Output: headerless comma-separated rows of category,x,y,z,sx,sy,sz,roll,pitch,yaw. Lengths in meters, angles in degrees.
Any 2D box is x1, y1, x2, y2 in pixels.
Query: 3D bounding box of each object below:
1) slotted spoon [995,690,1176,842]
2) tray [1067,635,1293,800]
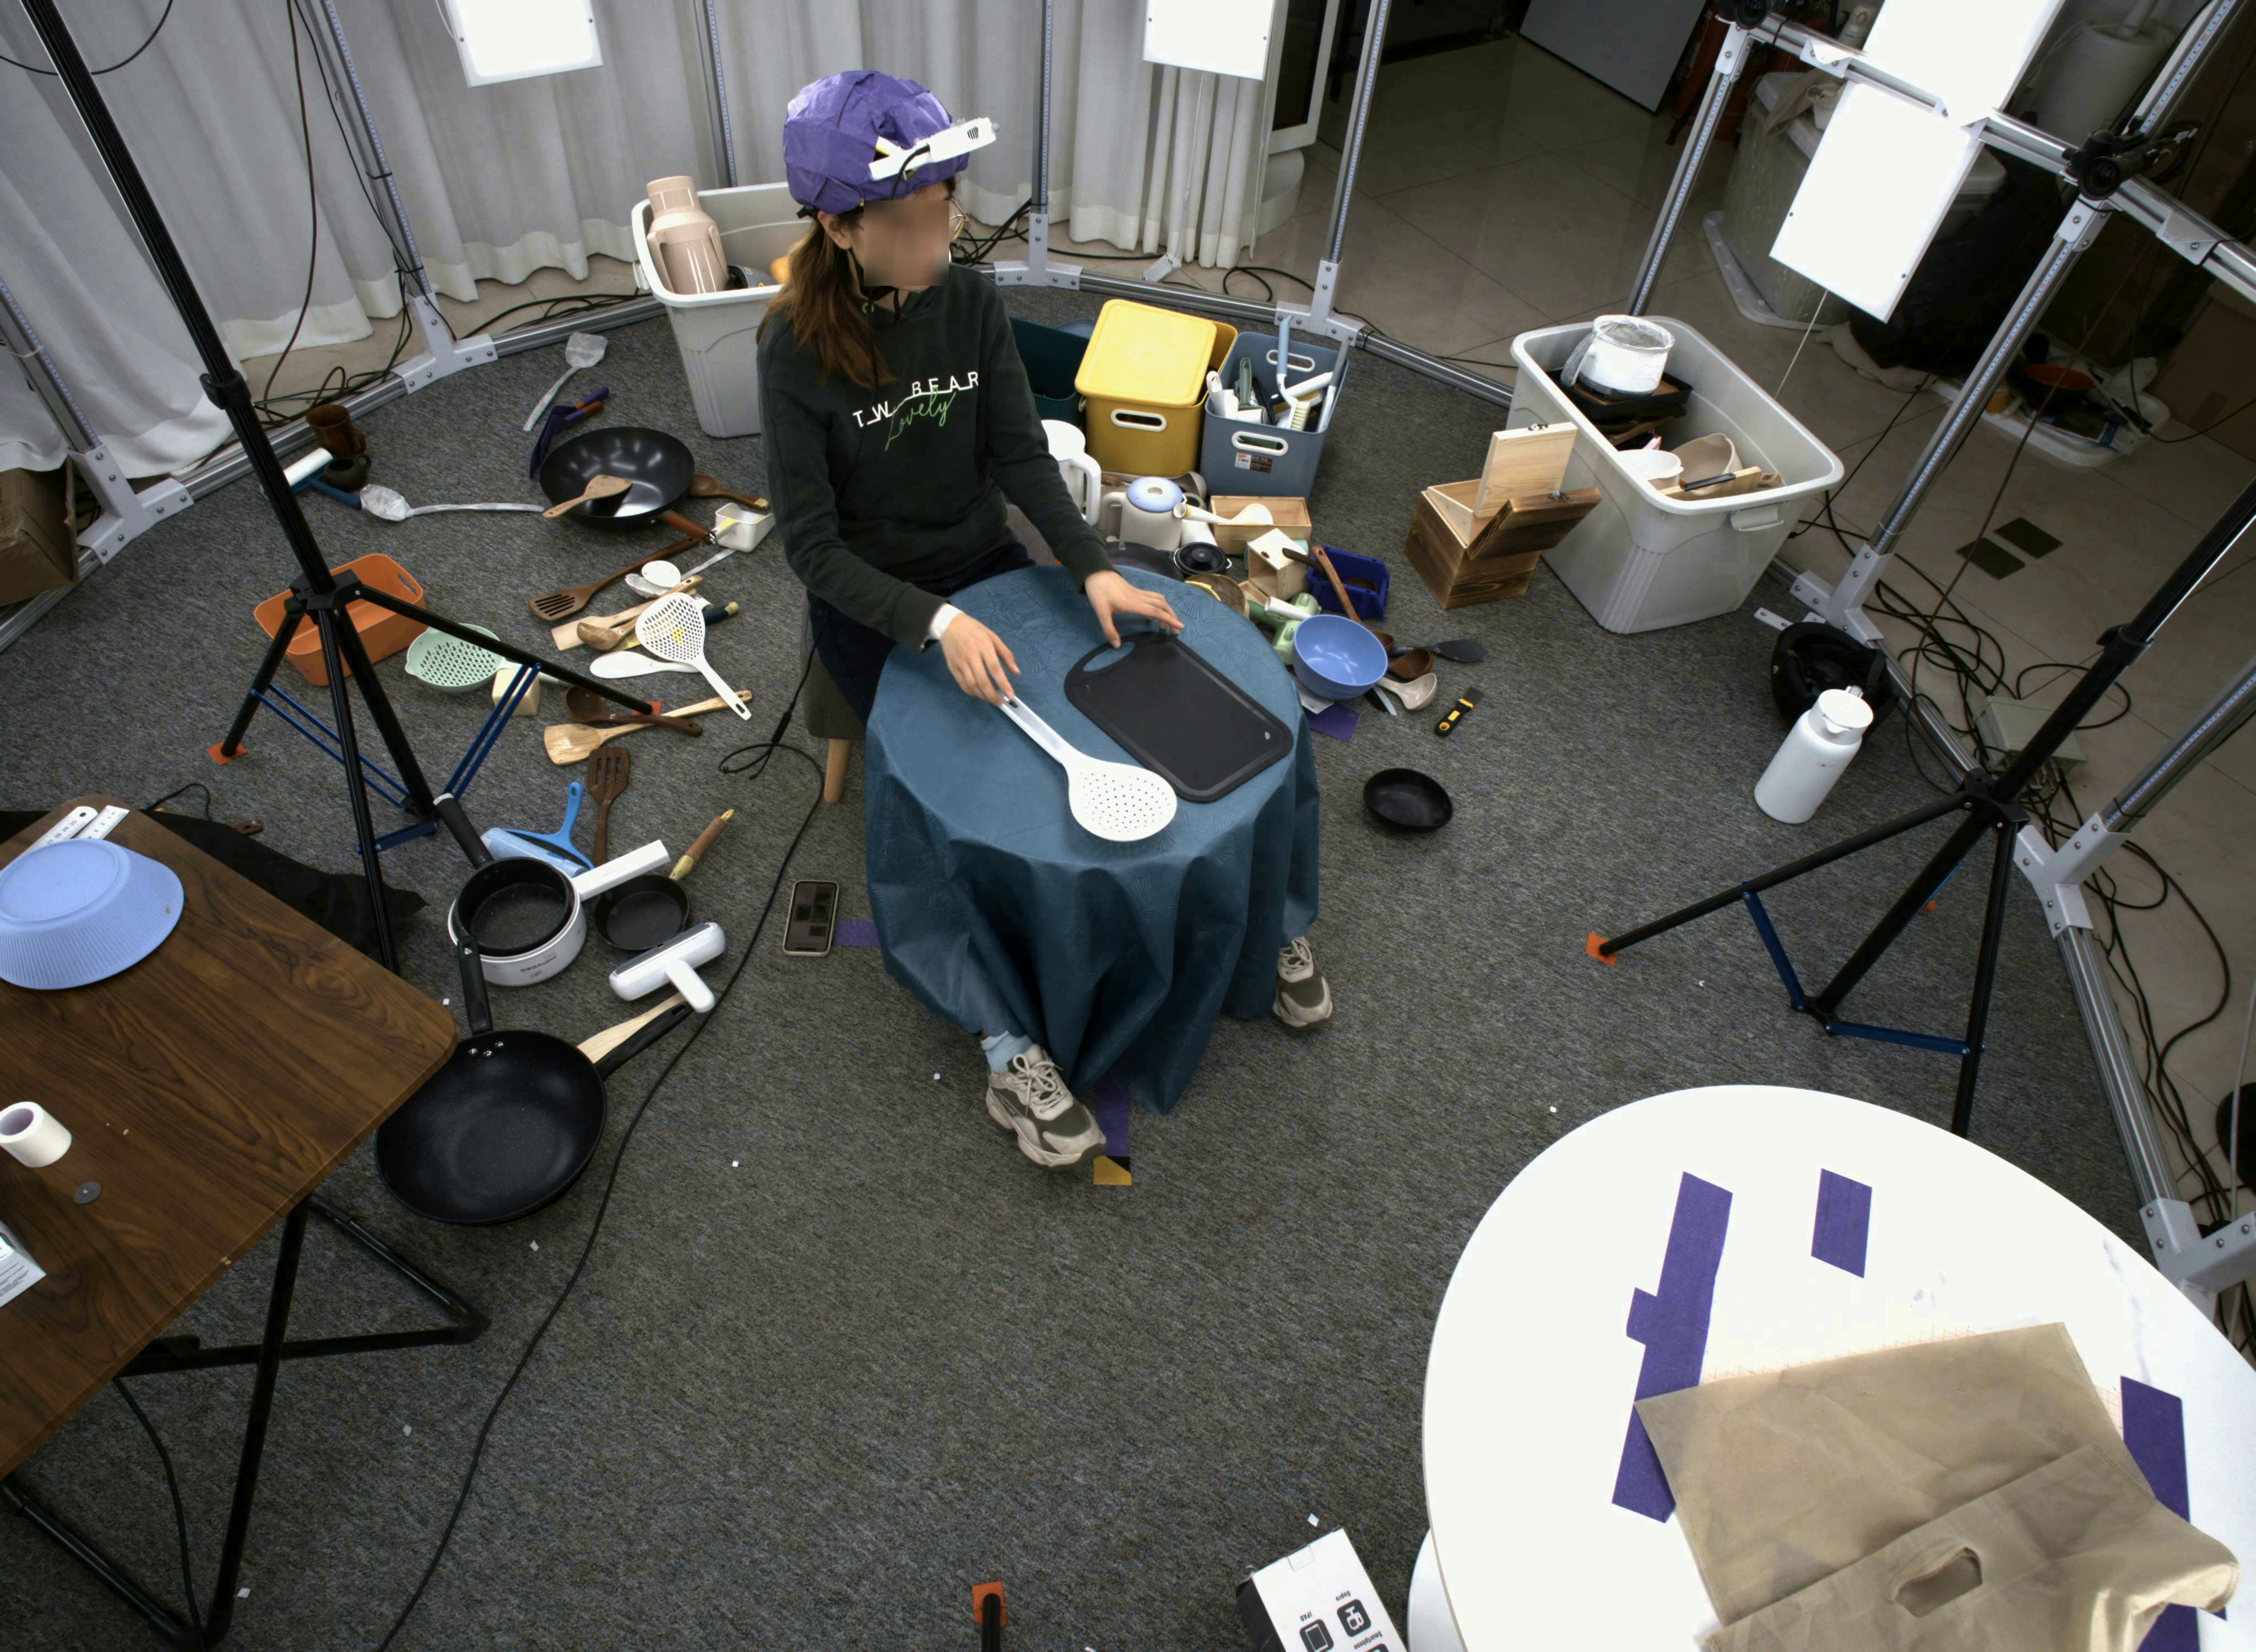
slotted spoon,-0.073,-0.087,1.725,0.137,0.044,0.356,-27,55,-27
tray,0.066,-0.166,1.829,0.212,0.009,0.331,-31,57,-27
